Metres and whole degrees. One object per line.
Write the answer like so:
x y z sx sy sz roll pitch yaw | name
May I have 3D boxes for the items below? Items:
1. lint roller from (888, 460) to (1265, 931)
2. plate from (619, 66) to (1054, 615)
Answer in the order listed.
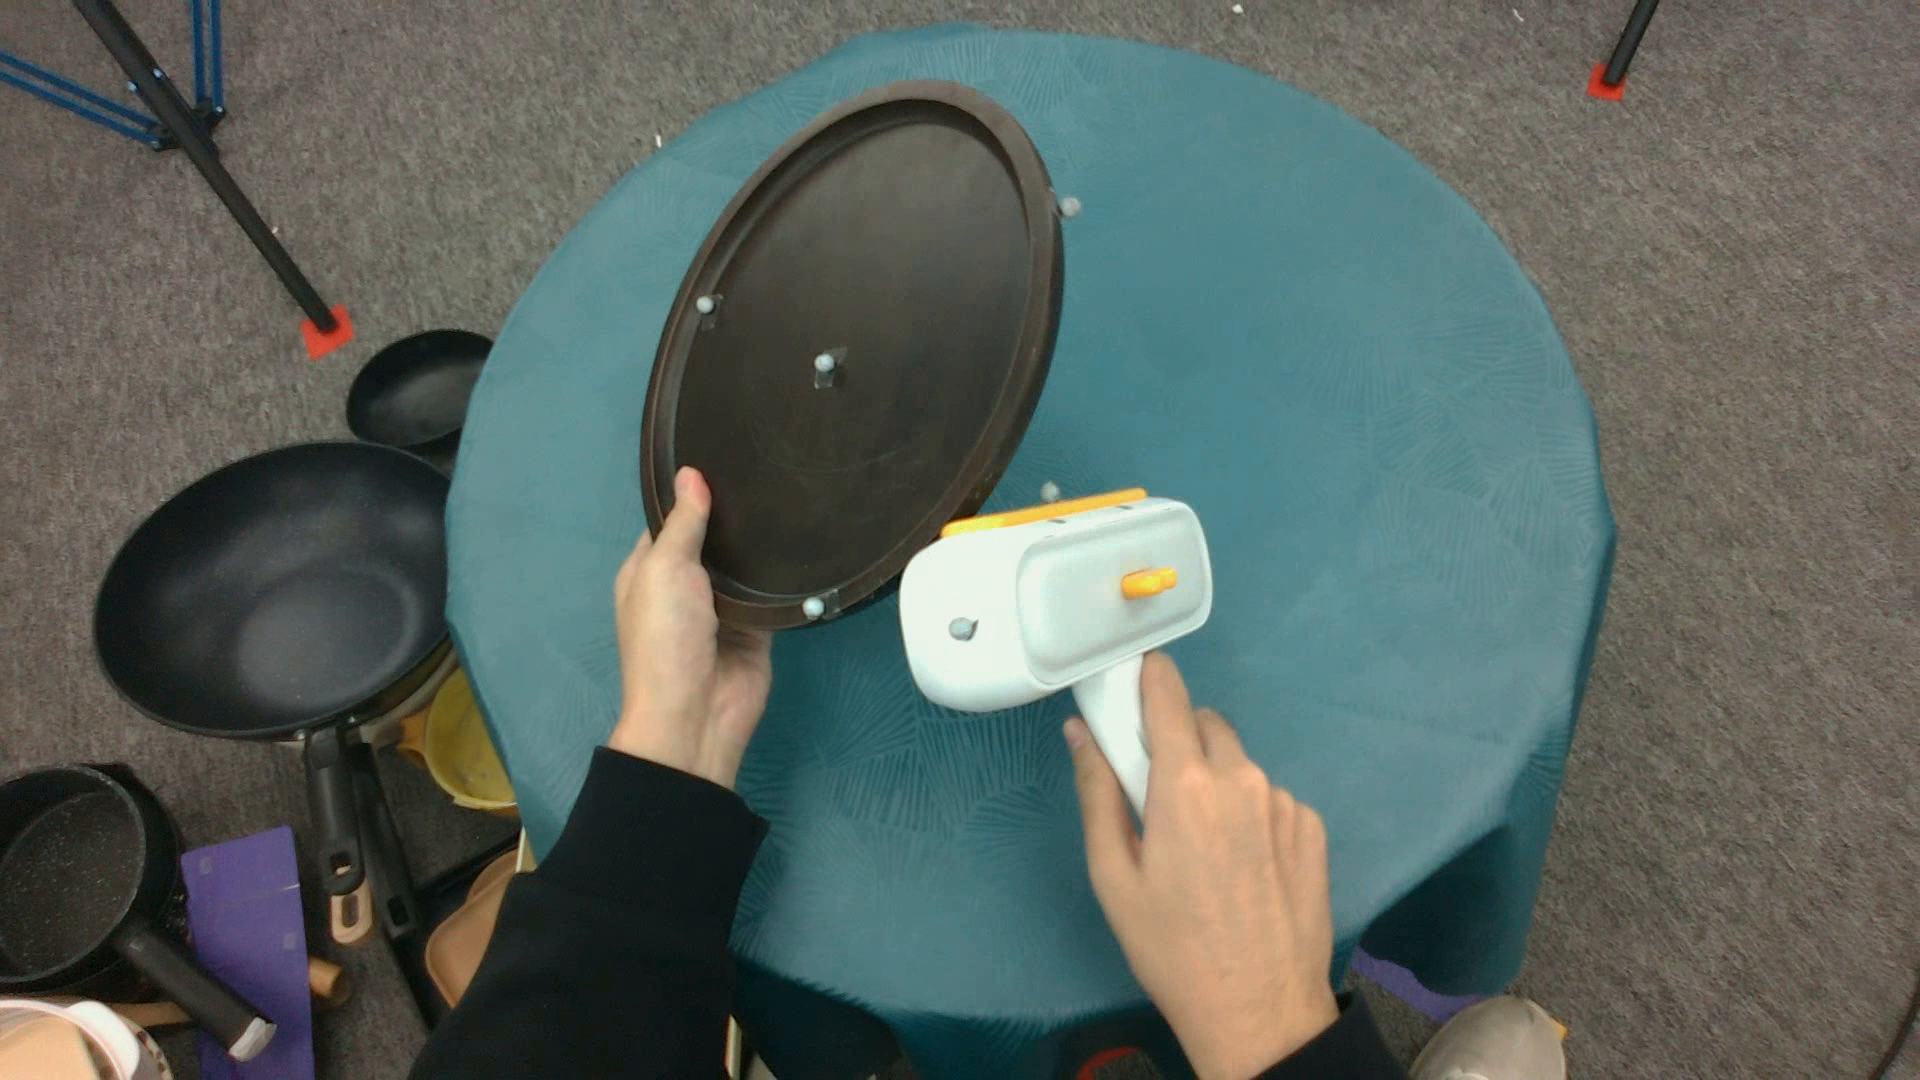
0.063 0.066 0.549 0.074 0.193 0.192 -19 91 28 | lint roller
-0.062 -0.089 0.604 0.254 0.029 0.255 -14 66 36 | plate
